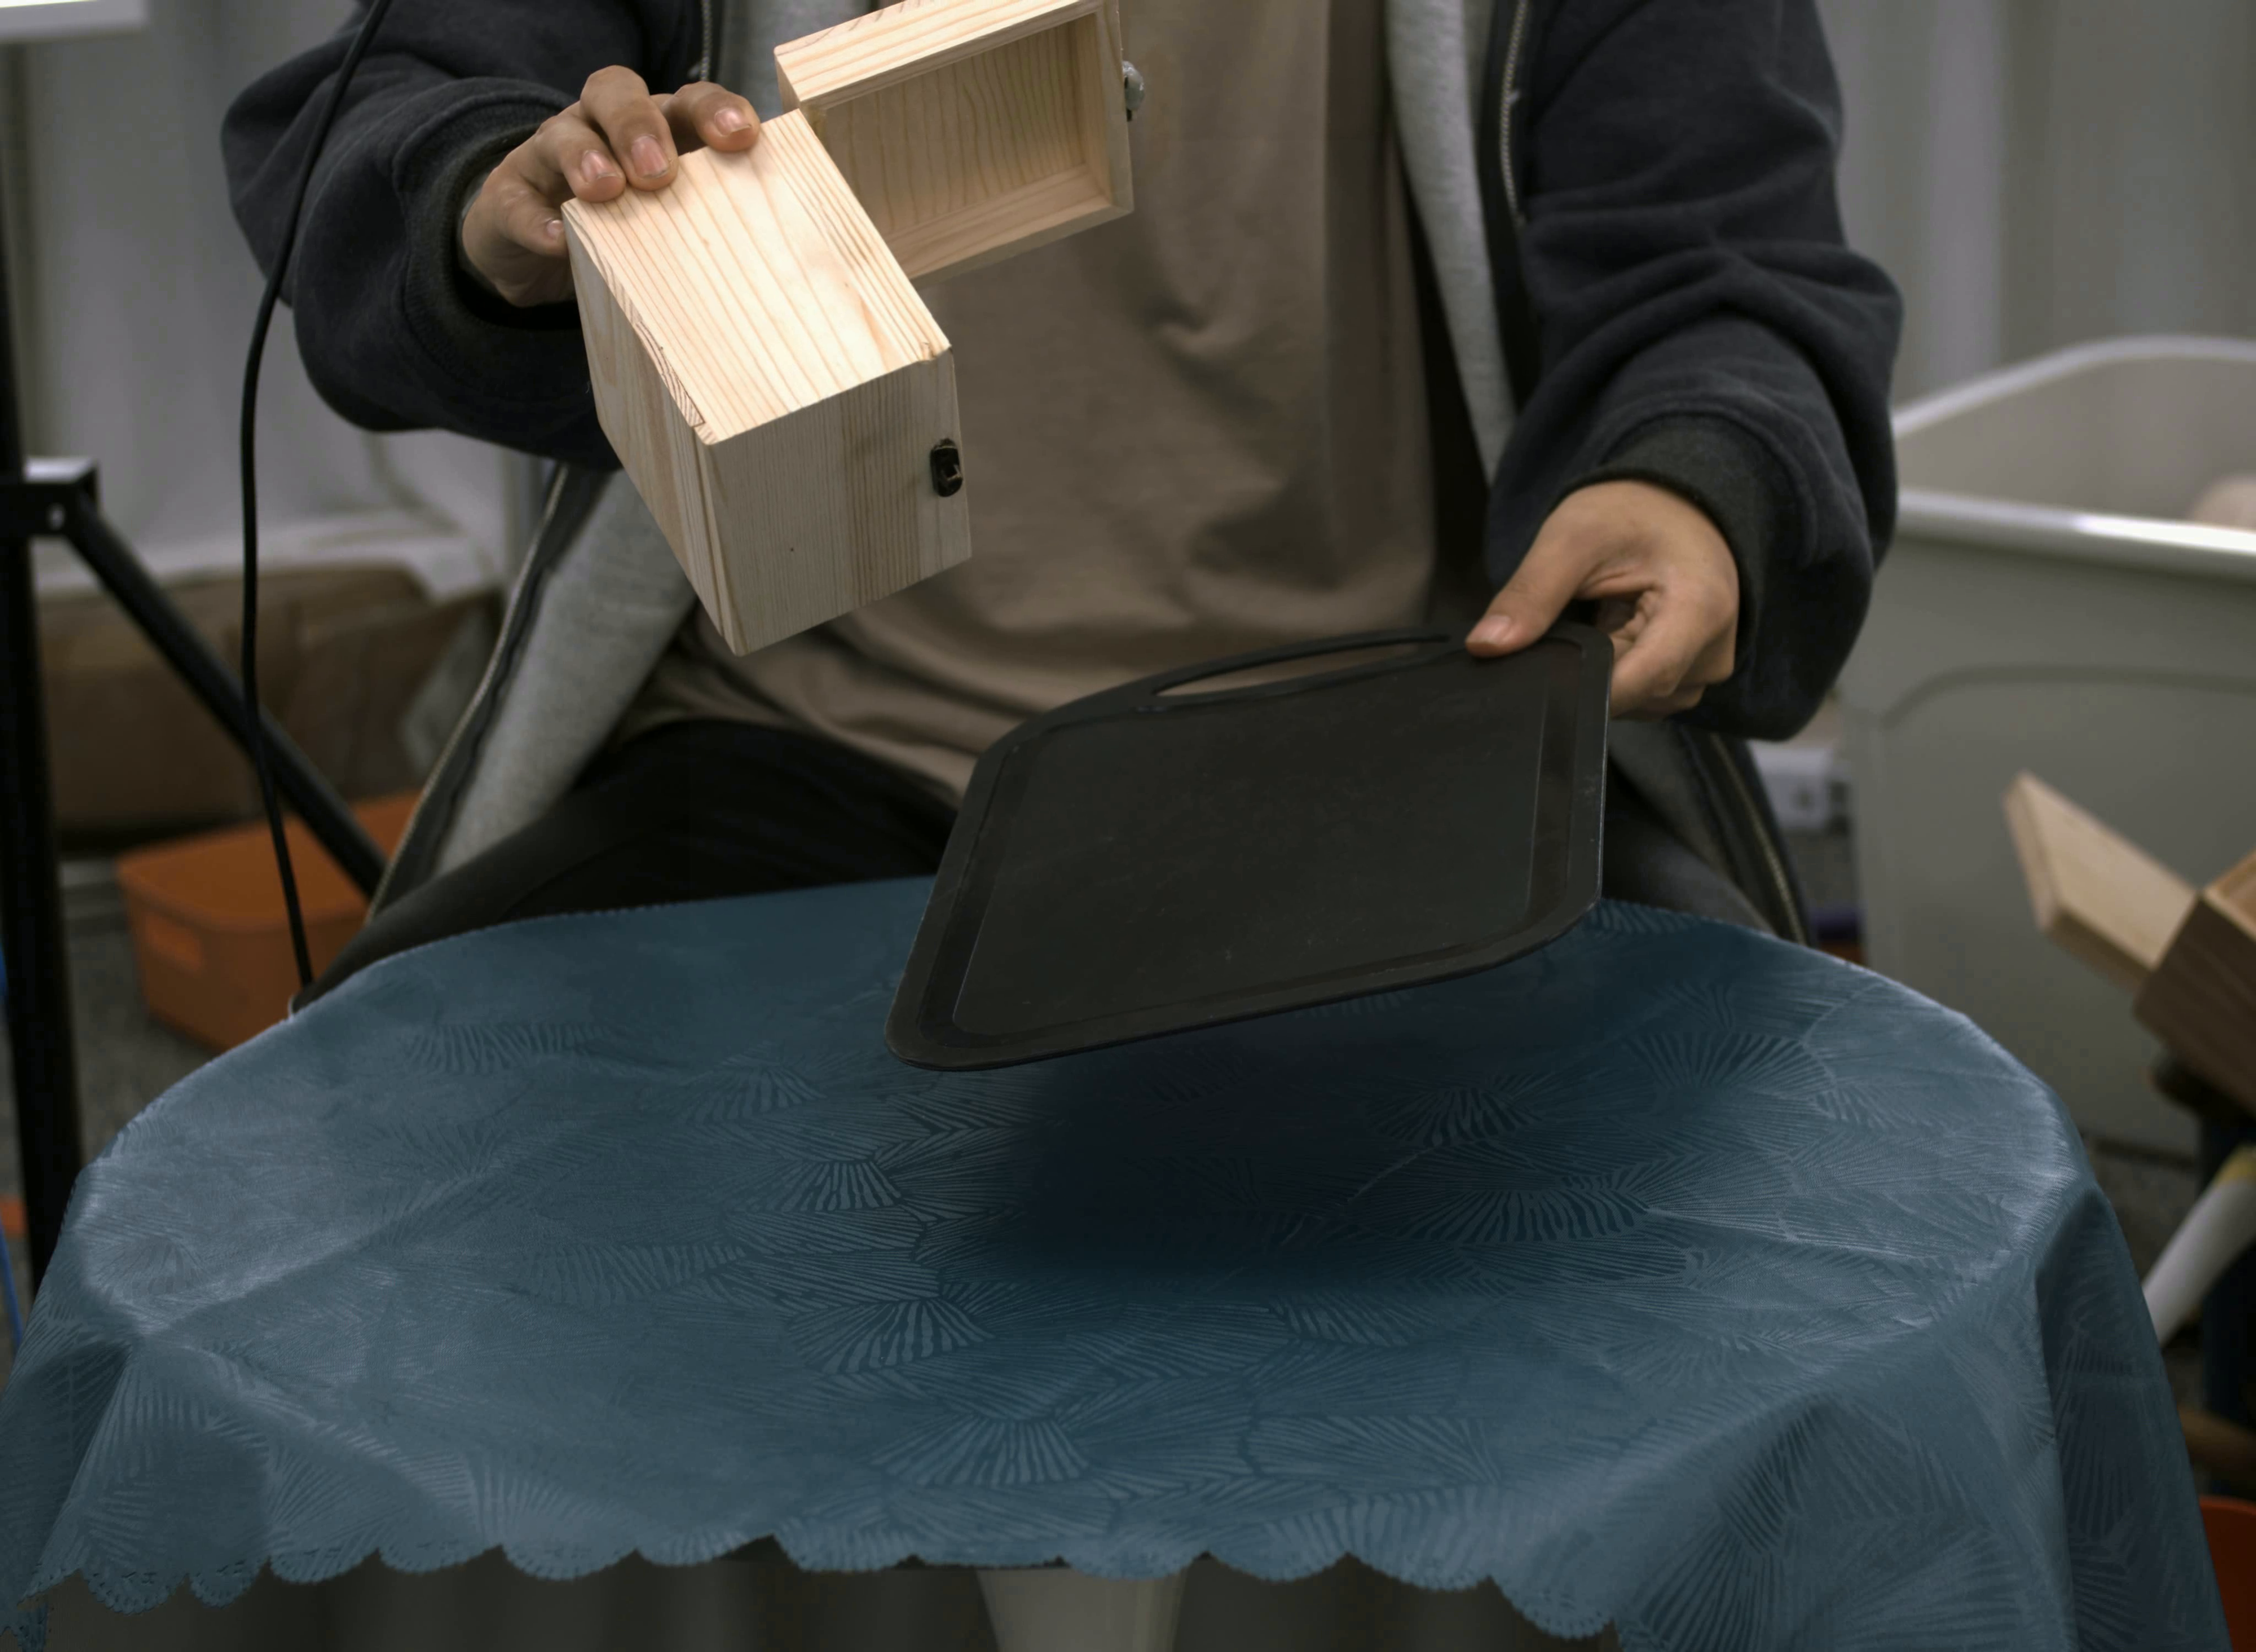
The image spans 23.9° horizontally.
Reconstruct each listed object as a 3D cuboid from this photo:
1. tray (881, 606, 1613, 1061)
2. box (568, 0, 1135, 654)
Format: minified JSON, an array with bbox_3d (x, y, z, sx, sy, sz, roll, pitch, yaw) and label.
[{"bbox_3d":[0.042,-0.005,1.610,0.212,0.010,0.325,-11,19,11],"label":"tray"},{"bbox_3d":[-0.060,-0.158,1.570,0.182,0.101,0.136,-26,57,-12],"label":"box"}]
